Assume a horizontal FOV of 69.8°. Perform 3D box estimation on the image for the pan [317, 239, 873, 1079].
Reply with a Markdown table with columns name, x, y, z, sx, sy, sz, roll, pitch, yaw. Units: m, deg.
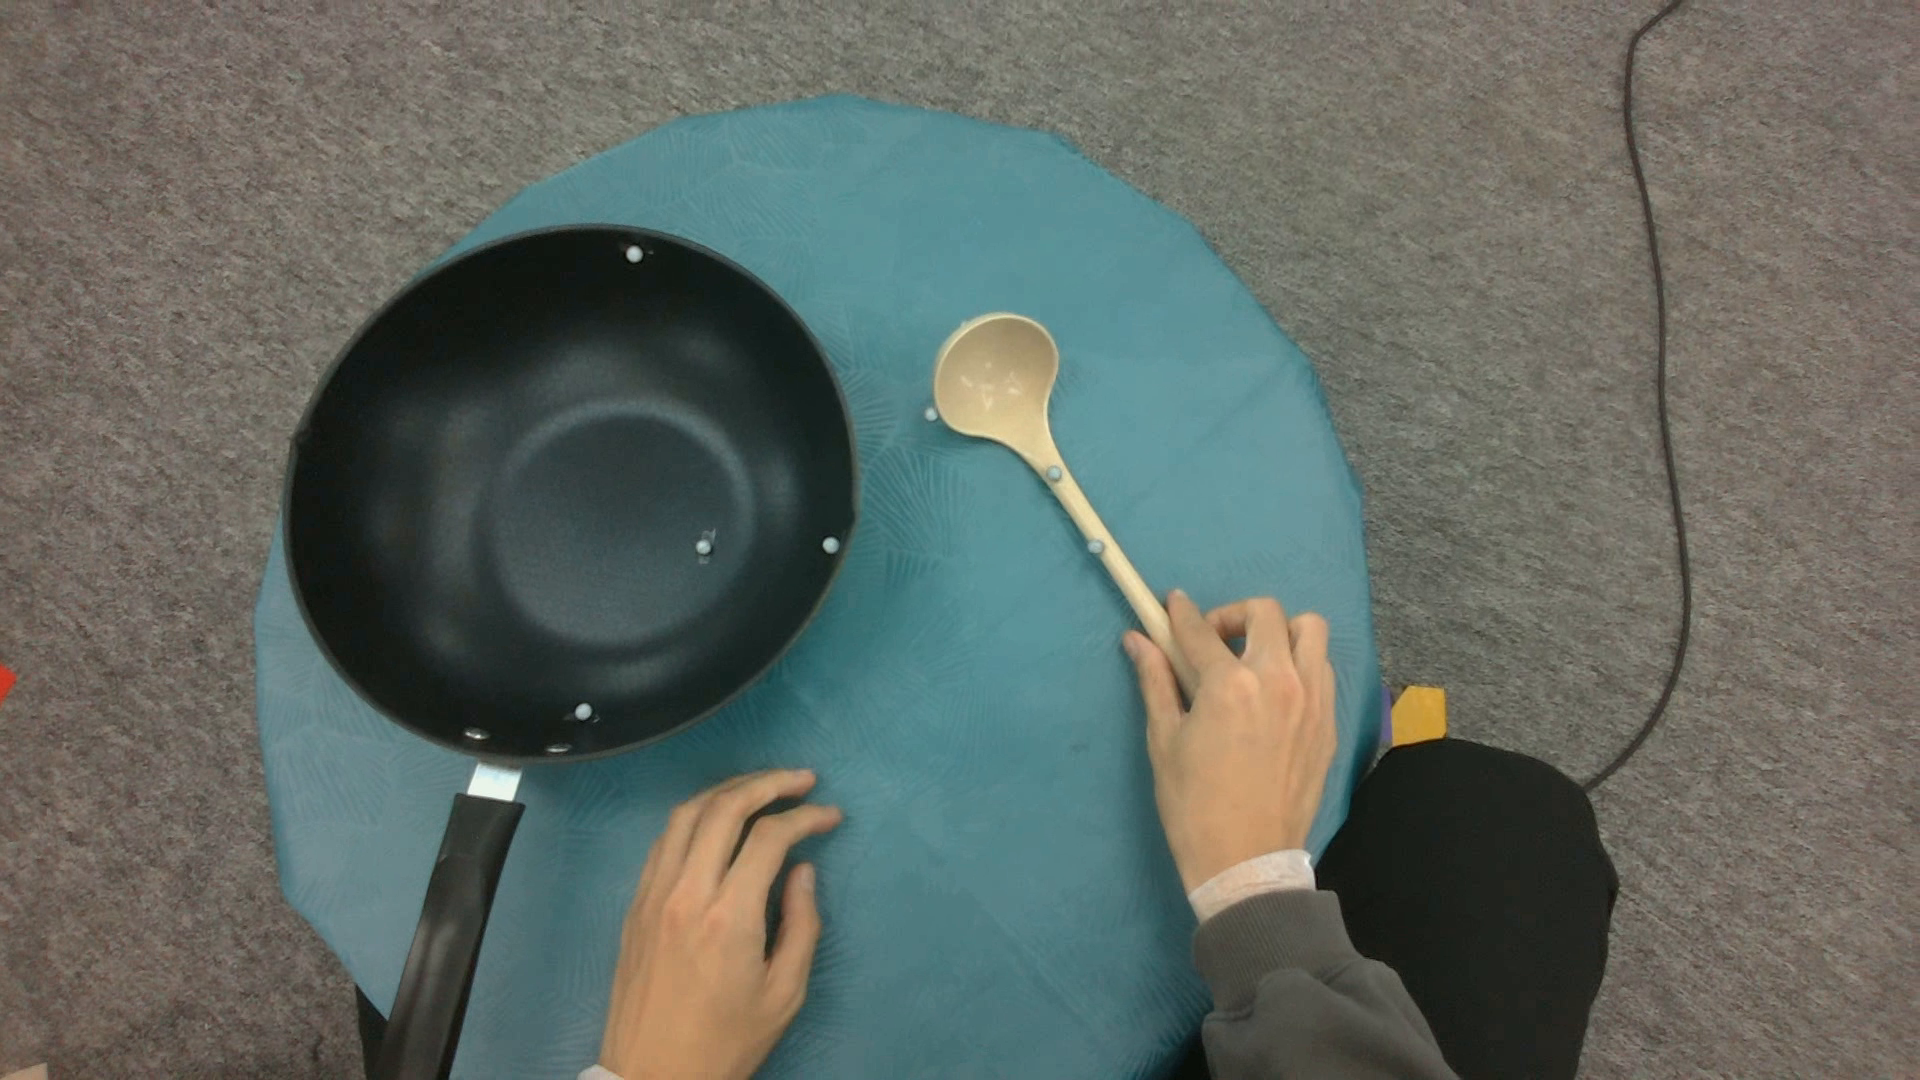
| name | x | y | z | sx | sy | sz | roll | pitch | yaw |
| --- | --- | --- | --- | --- | --- | --- | --- | --- | --- |
| pan | -0.200 | 0.071 | 0.704 | 0.288 | 0.086 | 0.464 | 9 | 74 | 5 |

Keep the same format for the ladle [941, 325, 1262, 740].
| name | x | y | z | sx | sy | sz | roll | pitch | yaw |
| --- | --- | --- | --- | --- | --- | --- | --- | --- | --- |
| ladle | 0.077 | -0.006 | 0.717 | 0.072 | 0.072 | 0.255 | -34 | 71 | -3 |
